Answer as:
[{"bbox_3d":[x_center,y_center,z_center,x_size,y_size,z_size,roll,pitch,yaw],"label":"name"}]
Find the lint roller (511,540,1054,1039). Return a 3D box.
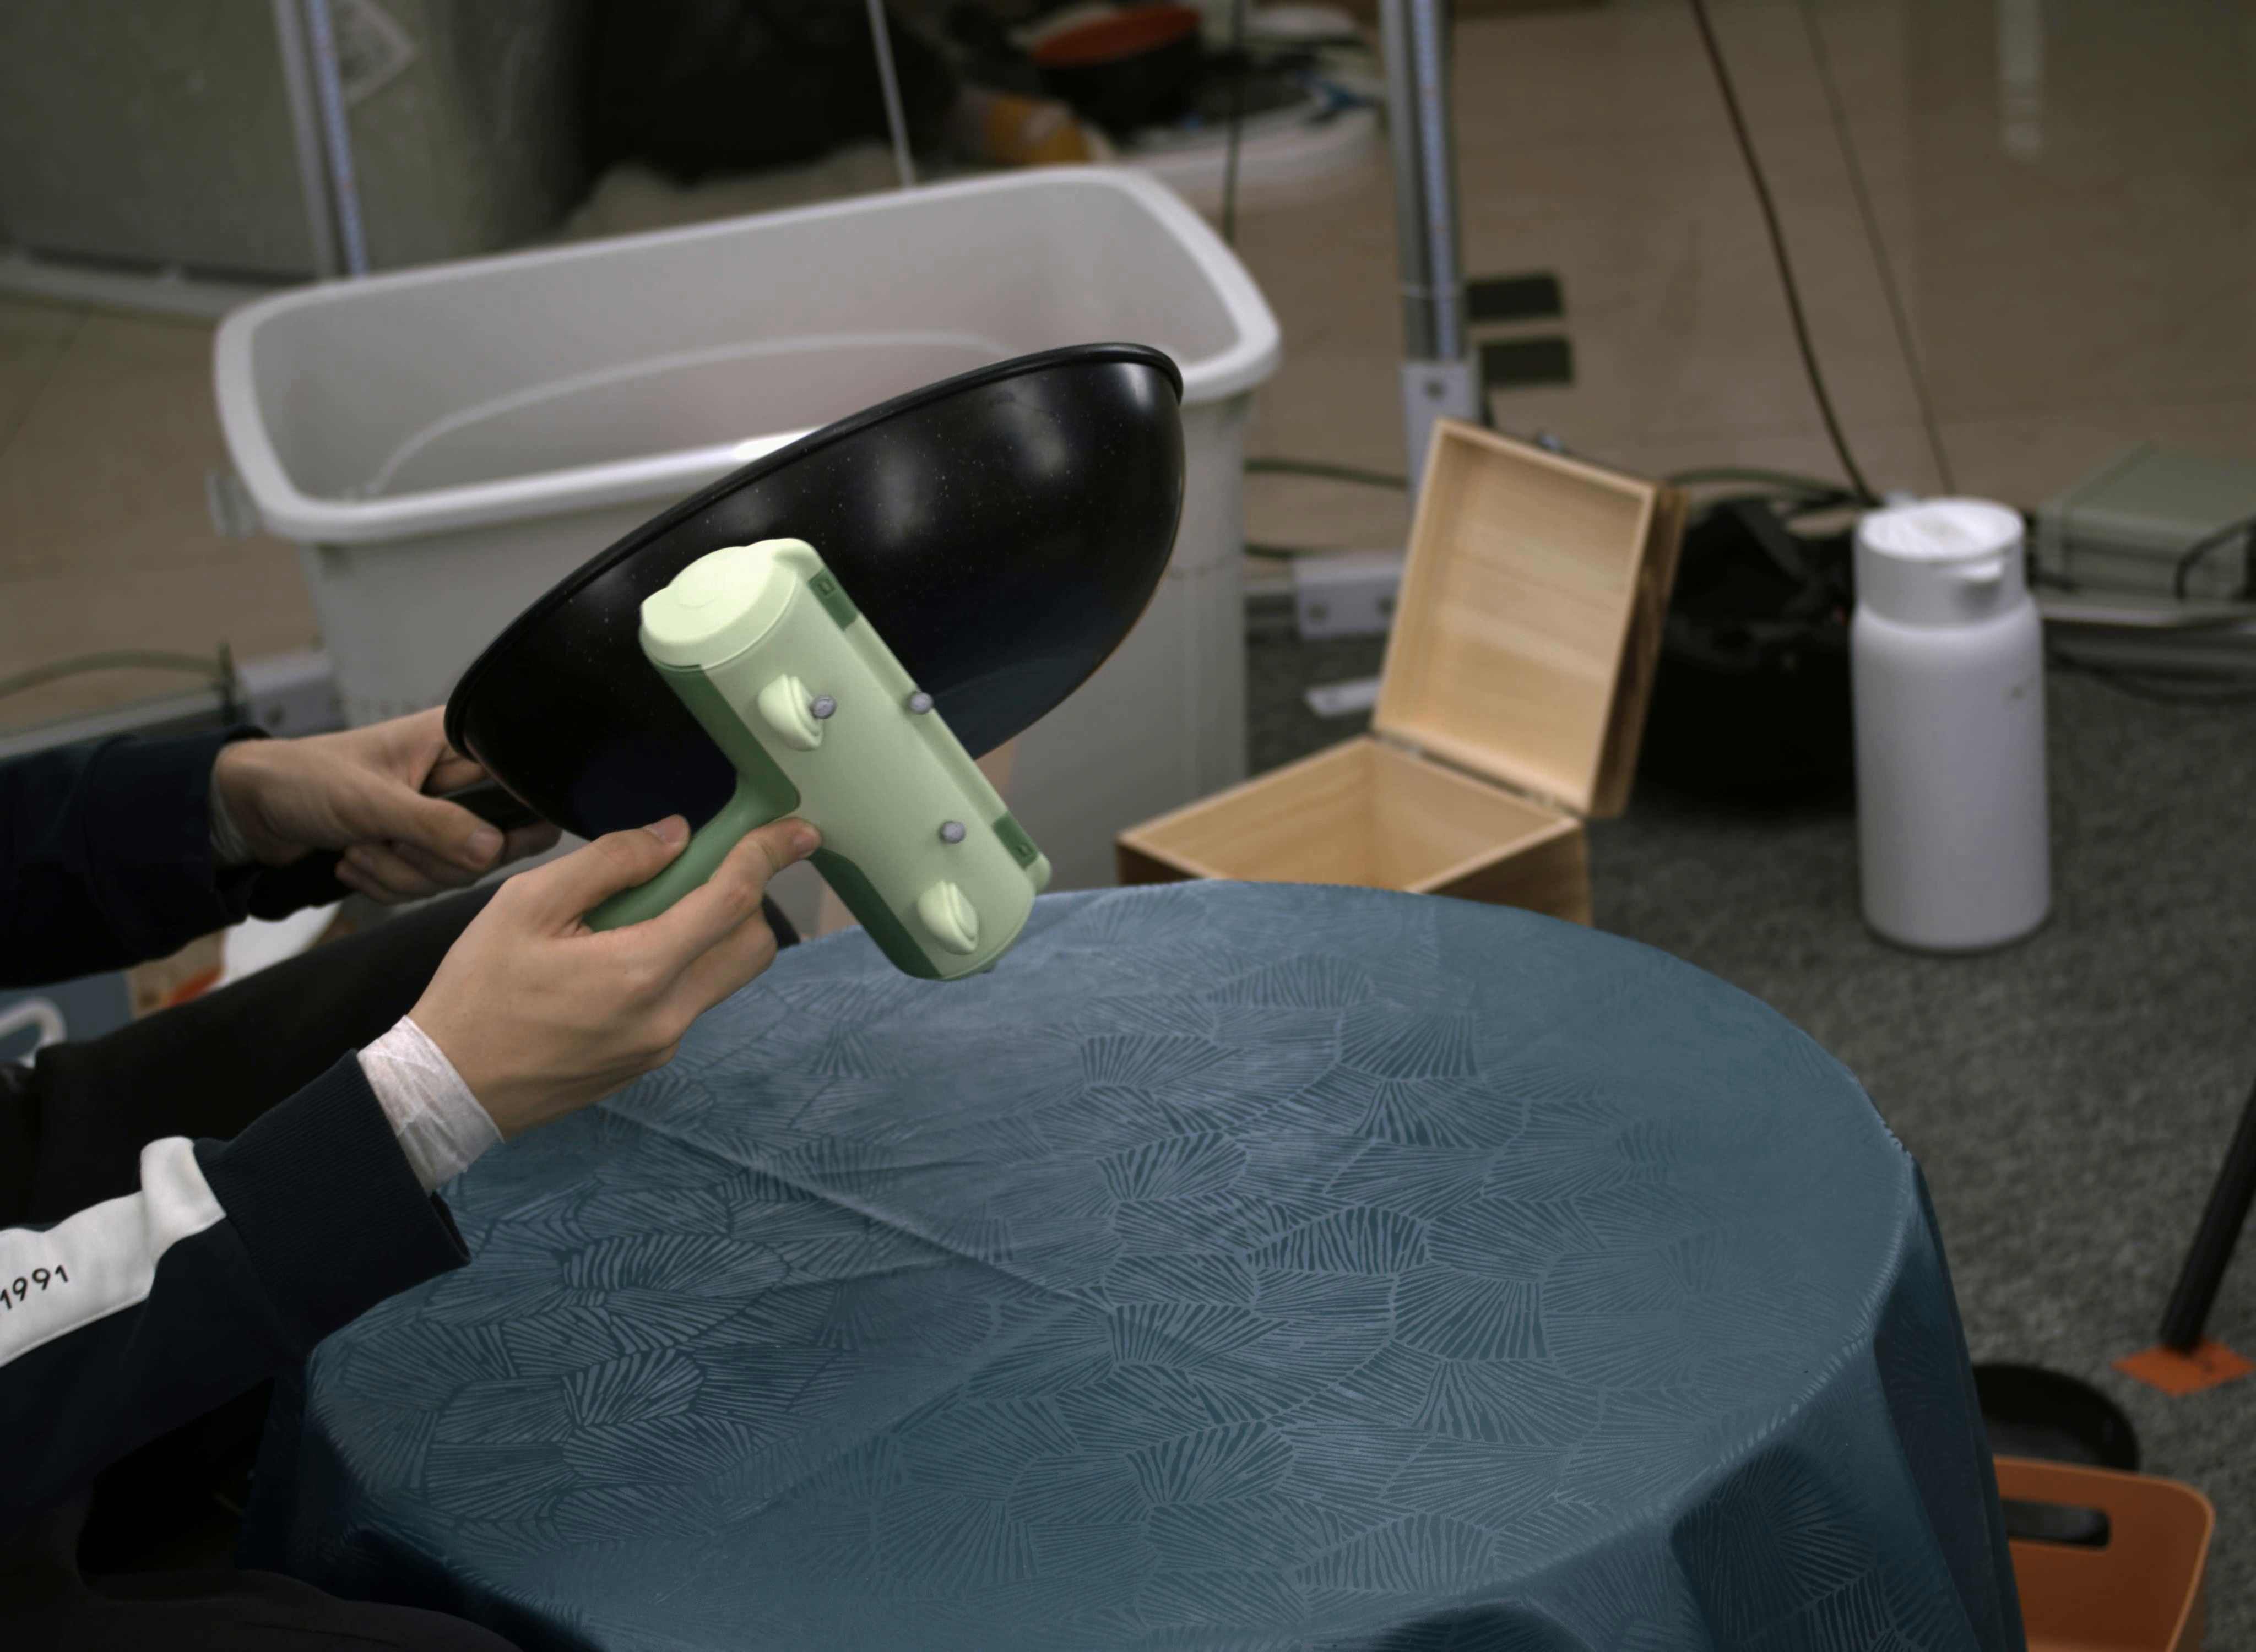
[{"bbox_3d":[-0.134,0.020,1.987,0.183,0.202,0.081,-44,42,-7],"label":"lint roller"}]

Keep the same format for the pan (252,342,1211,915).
[{"bbox_3d":[-0.158,-0.038,2.164,0.481,0.111,0.309,-33,-13,32],"label":"pan"}]
